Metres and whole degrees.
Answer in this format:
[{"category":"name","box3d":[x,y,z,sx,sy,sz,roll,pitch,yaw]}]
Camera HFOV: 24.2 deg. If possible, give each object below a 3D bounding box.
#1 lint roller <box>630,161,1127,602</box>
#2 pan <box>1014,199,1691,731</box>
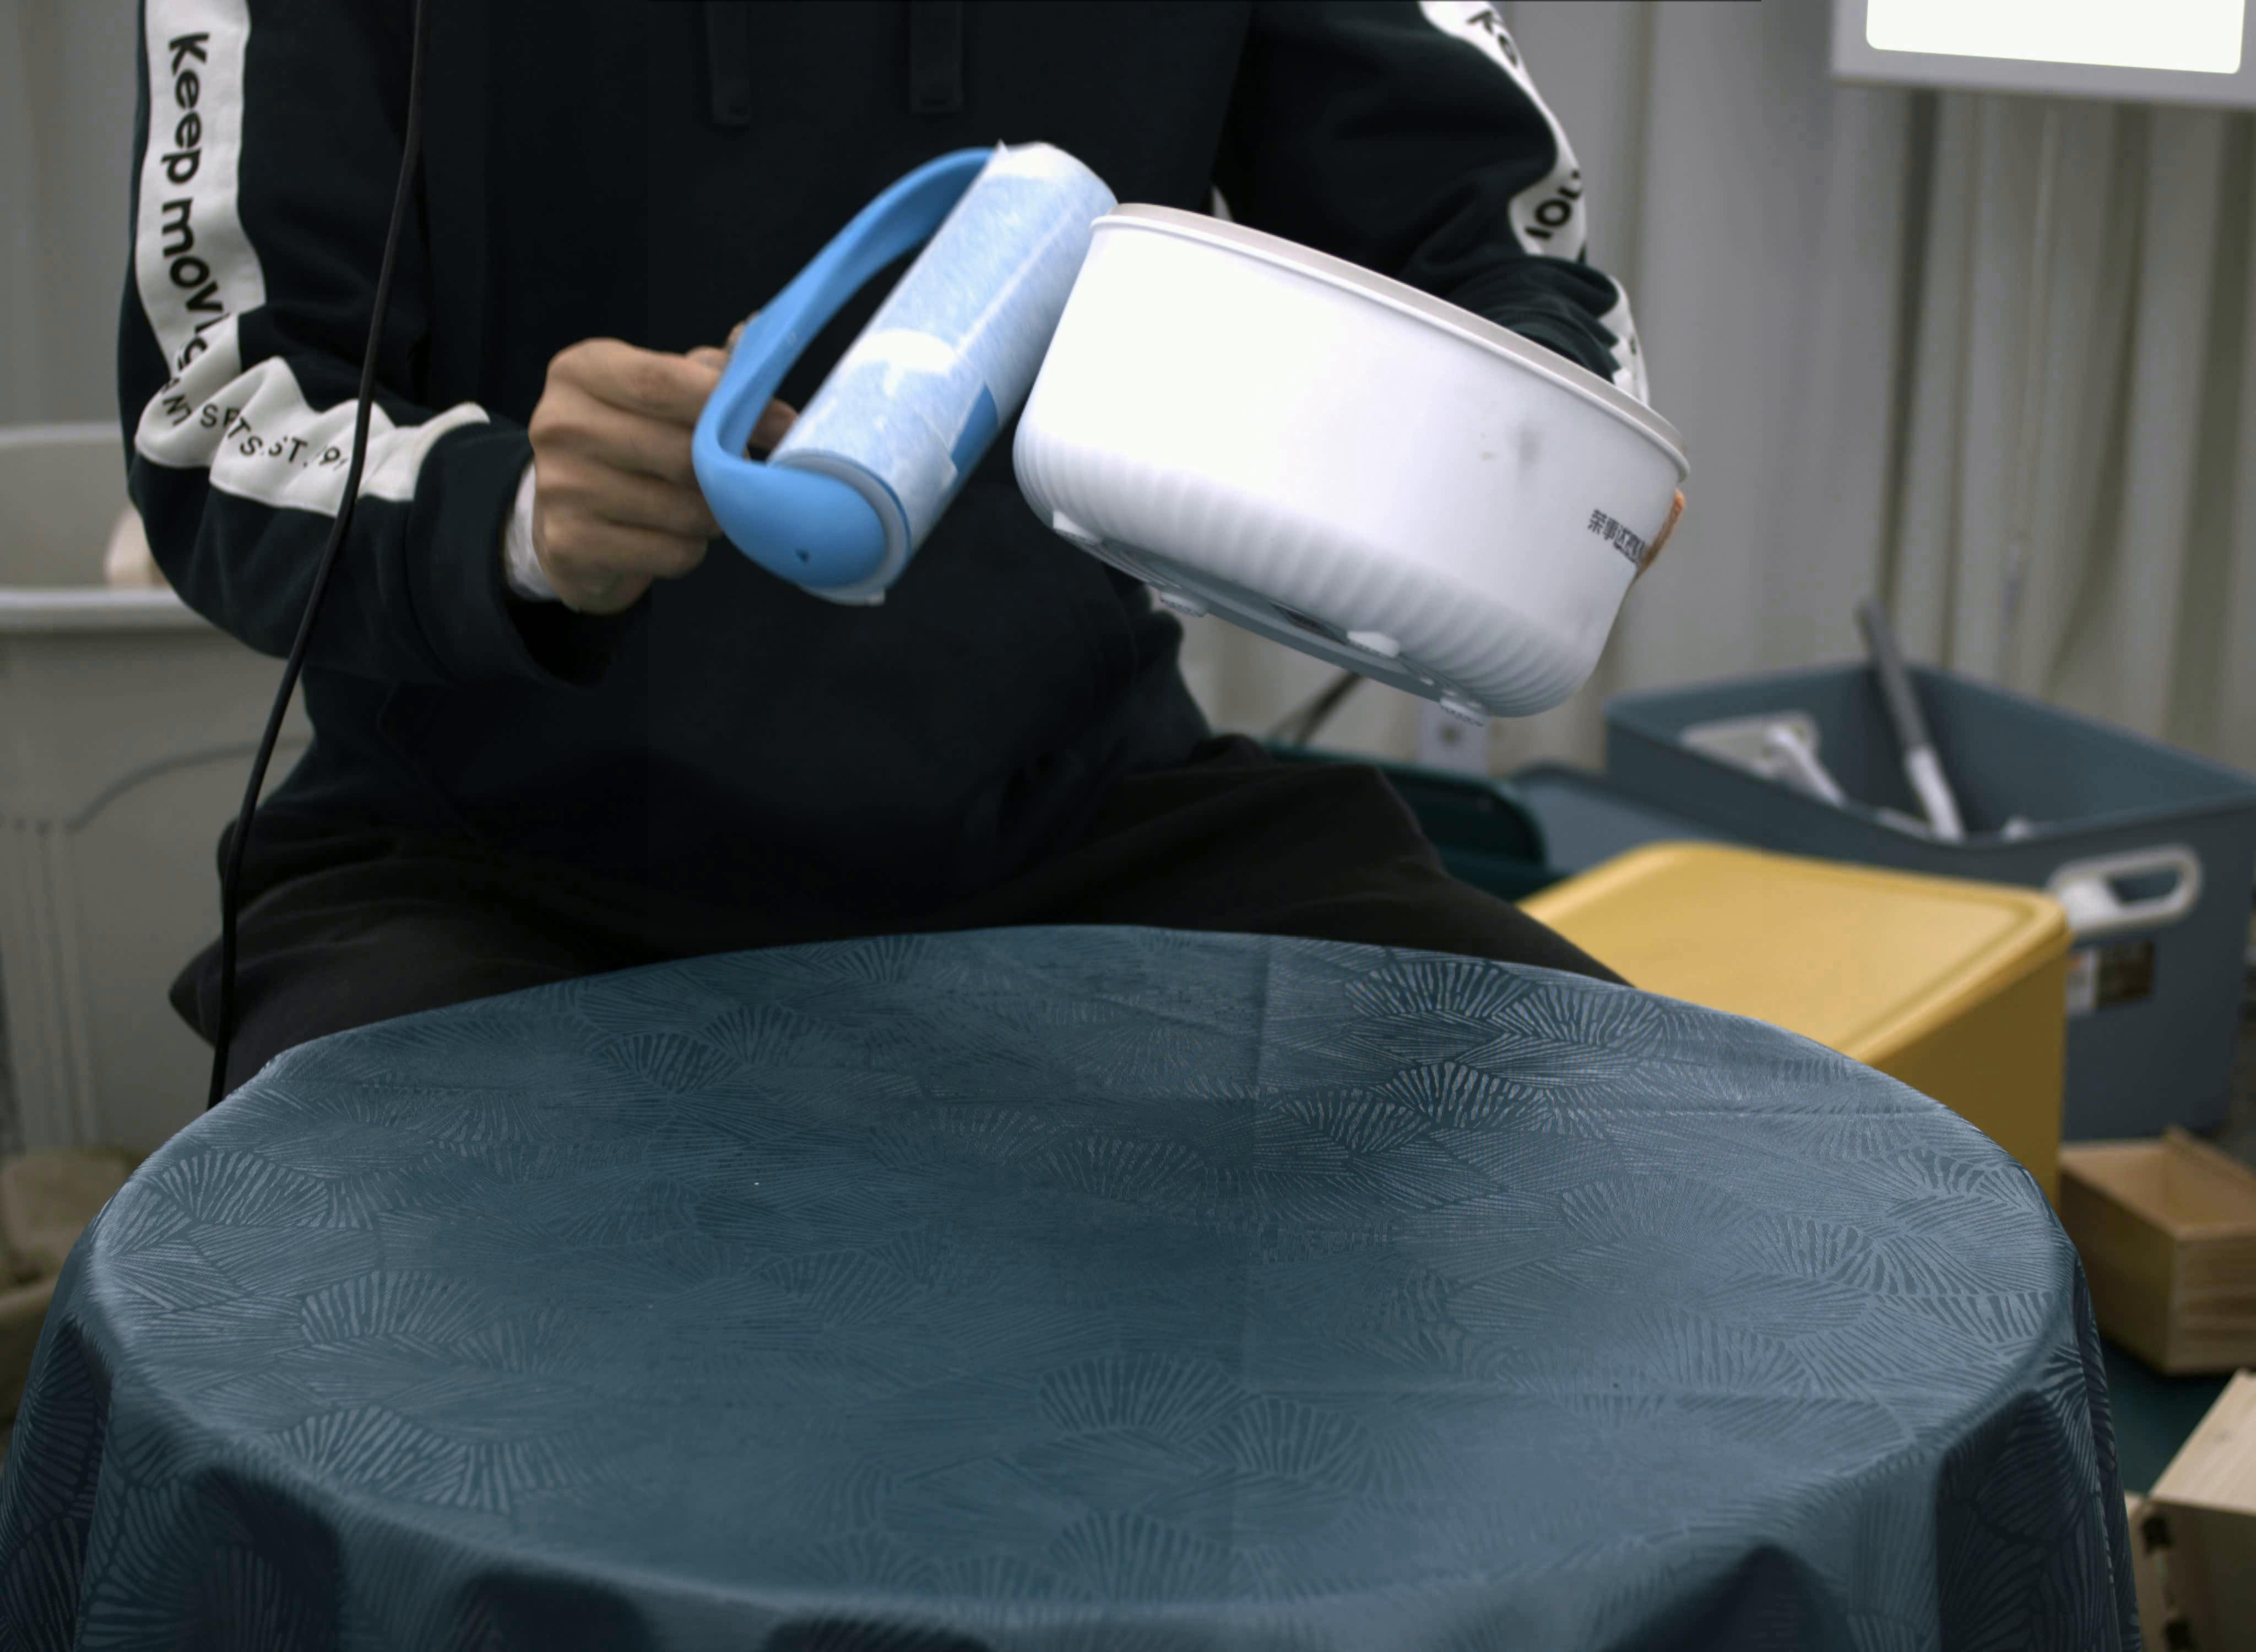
[{"category":"lint roller","box3d":[-0.104,-0.127,1.690,0.179,0.068,0.228,-19,27,30]},{"category":"pan","box3d":[0.089,-0.091,1.695,0.199,0.102,0.358,22,-4,22]}]
